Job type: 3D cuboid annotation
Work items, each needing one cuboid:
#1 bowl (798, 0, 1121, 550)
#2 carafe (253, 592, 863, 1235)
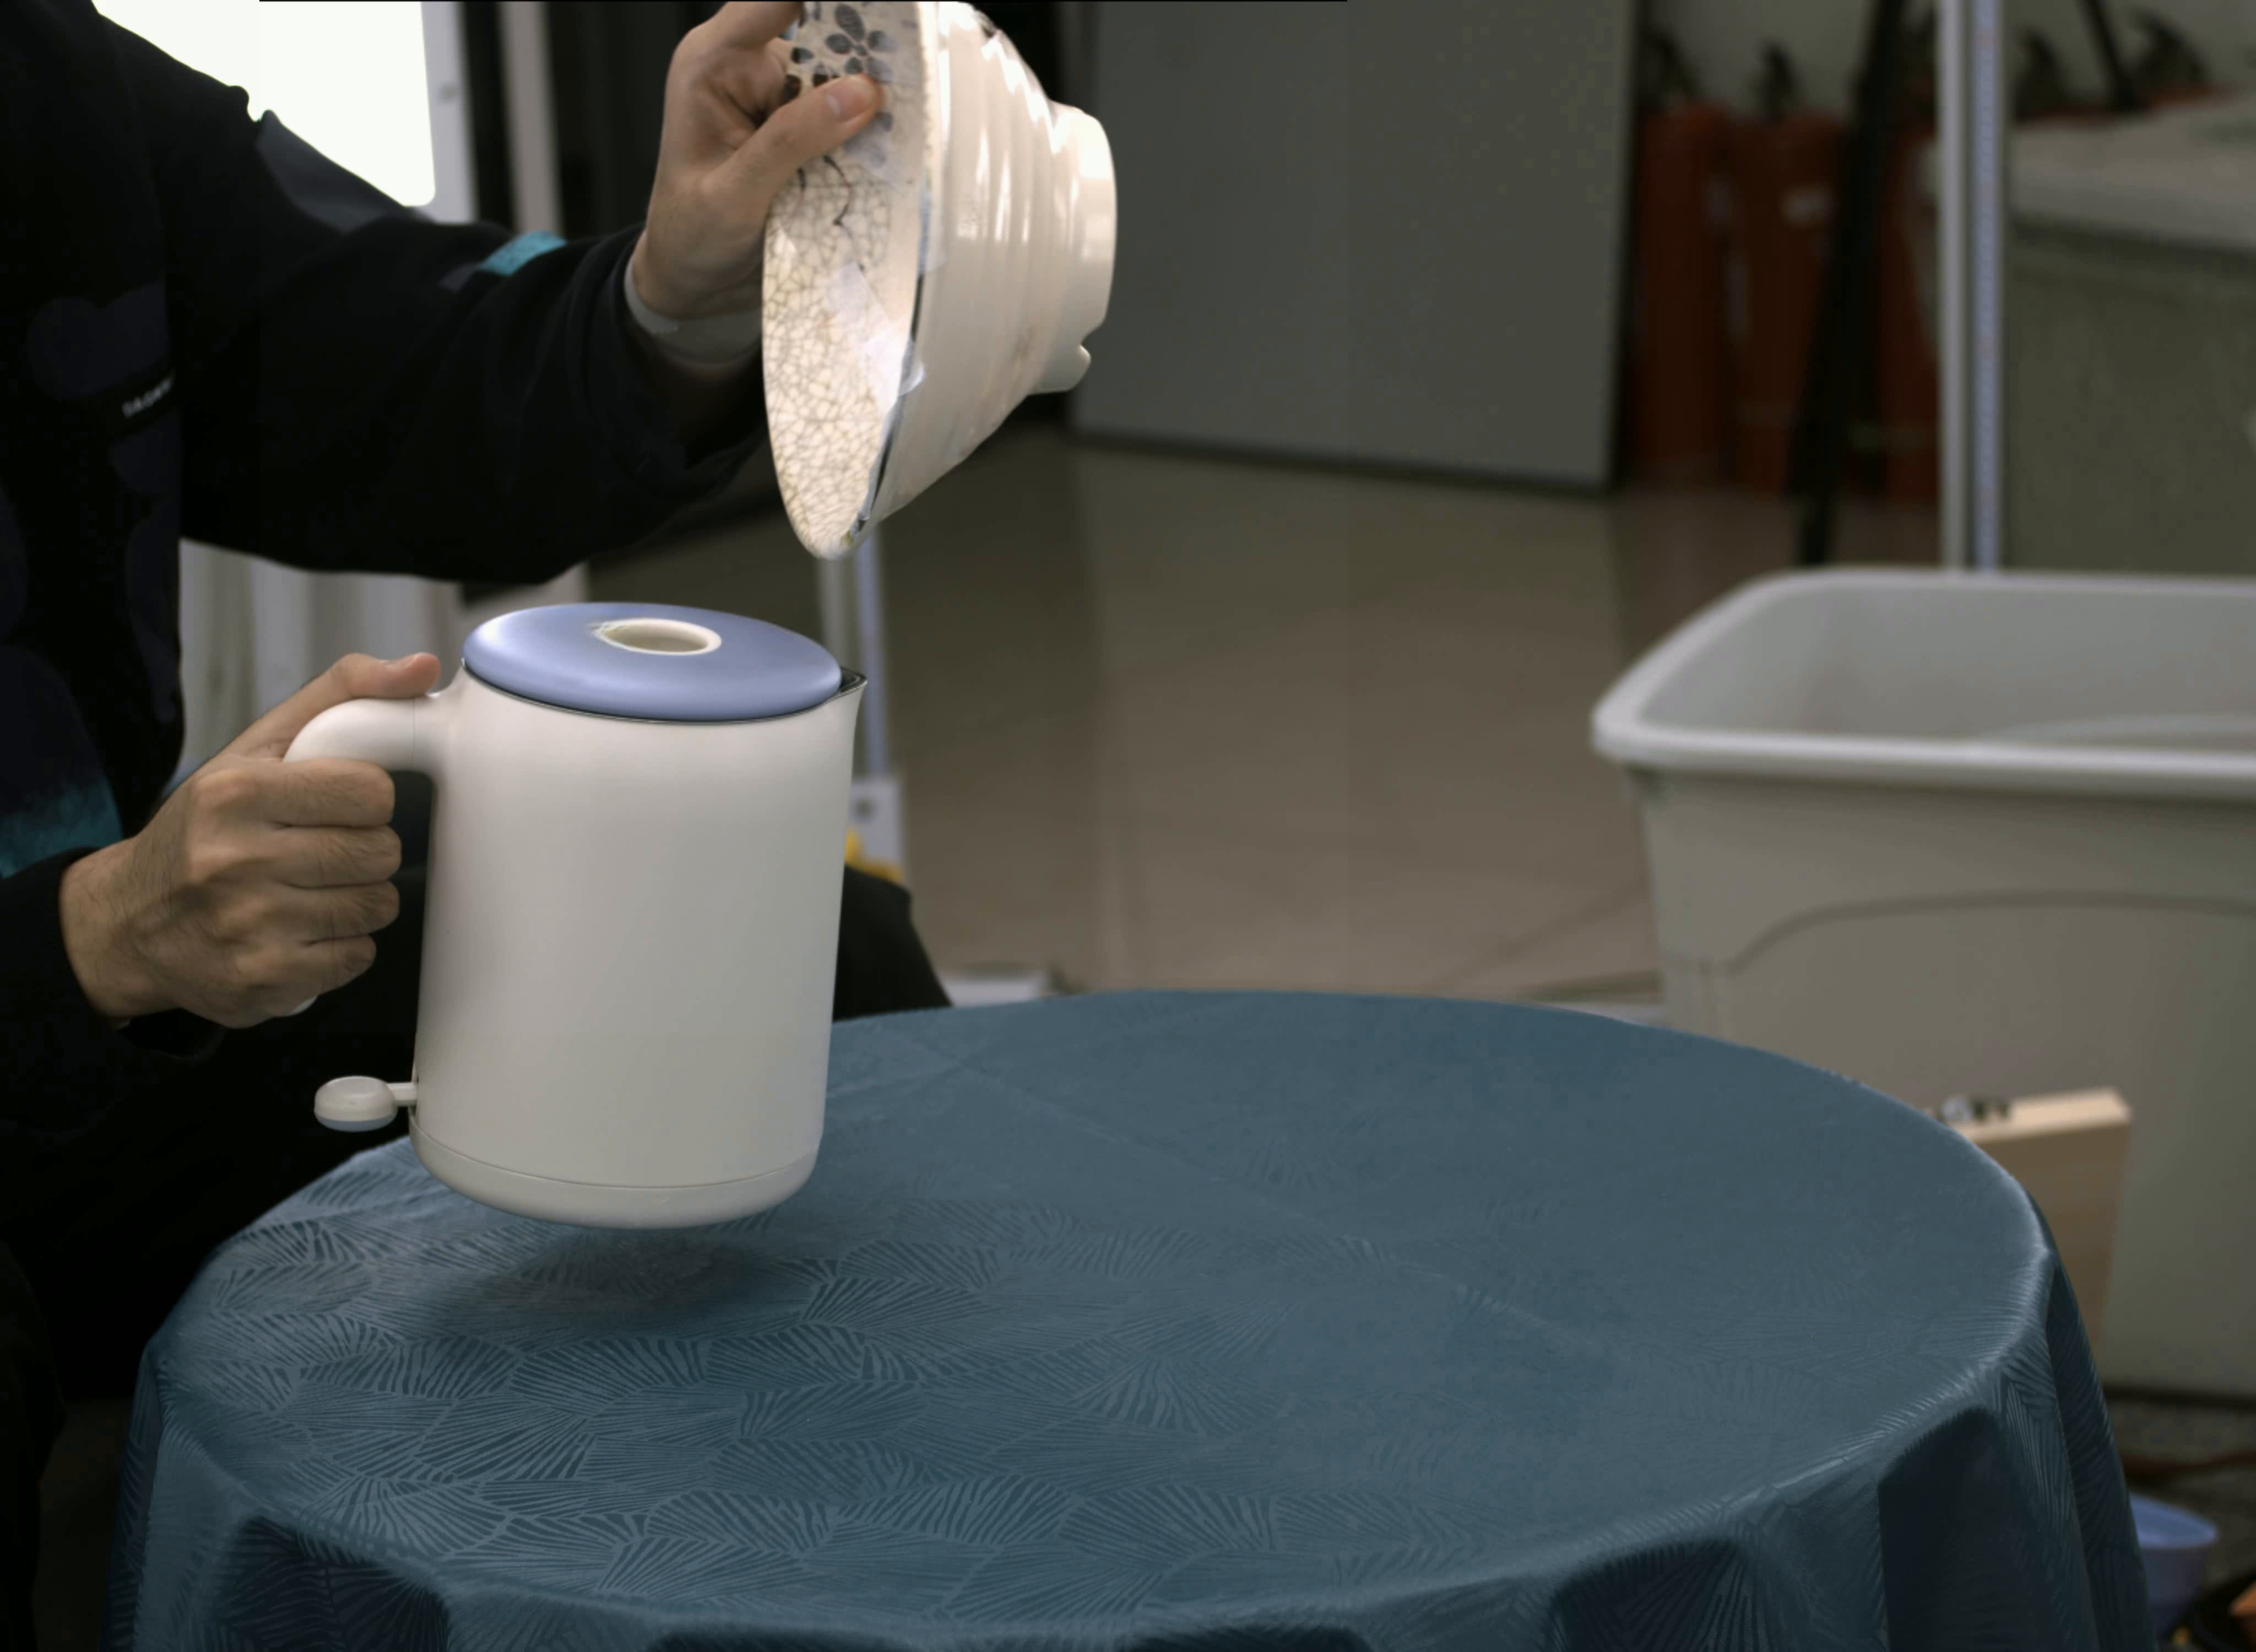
[{"bbox_3d":[-0.048,-0.185,1.661,0.076,0.206,0.205,4,12,-11],"label":"bowl"},{"bbox_3d":[-0.177,0.027,1.681,0.187,0.184,0.133,-2,15,-14],"label":"carafe"}]
